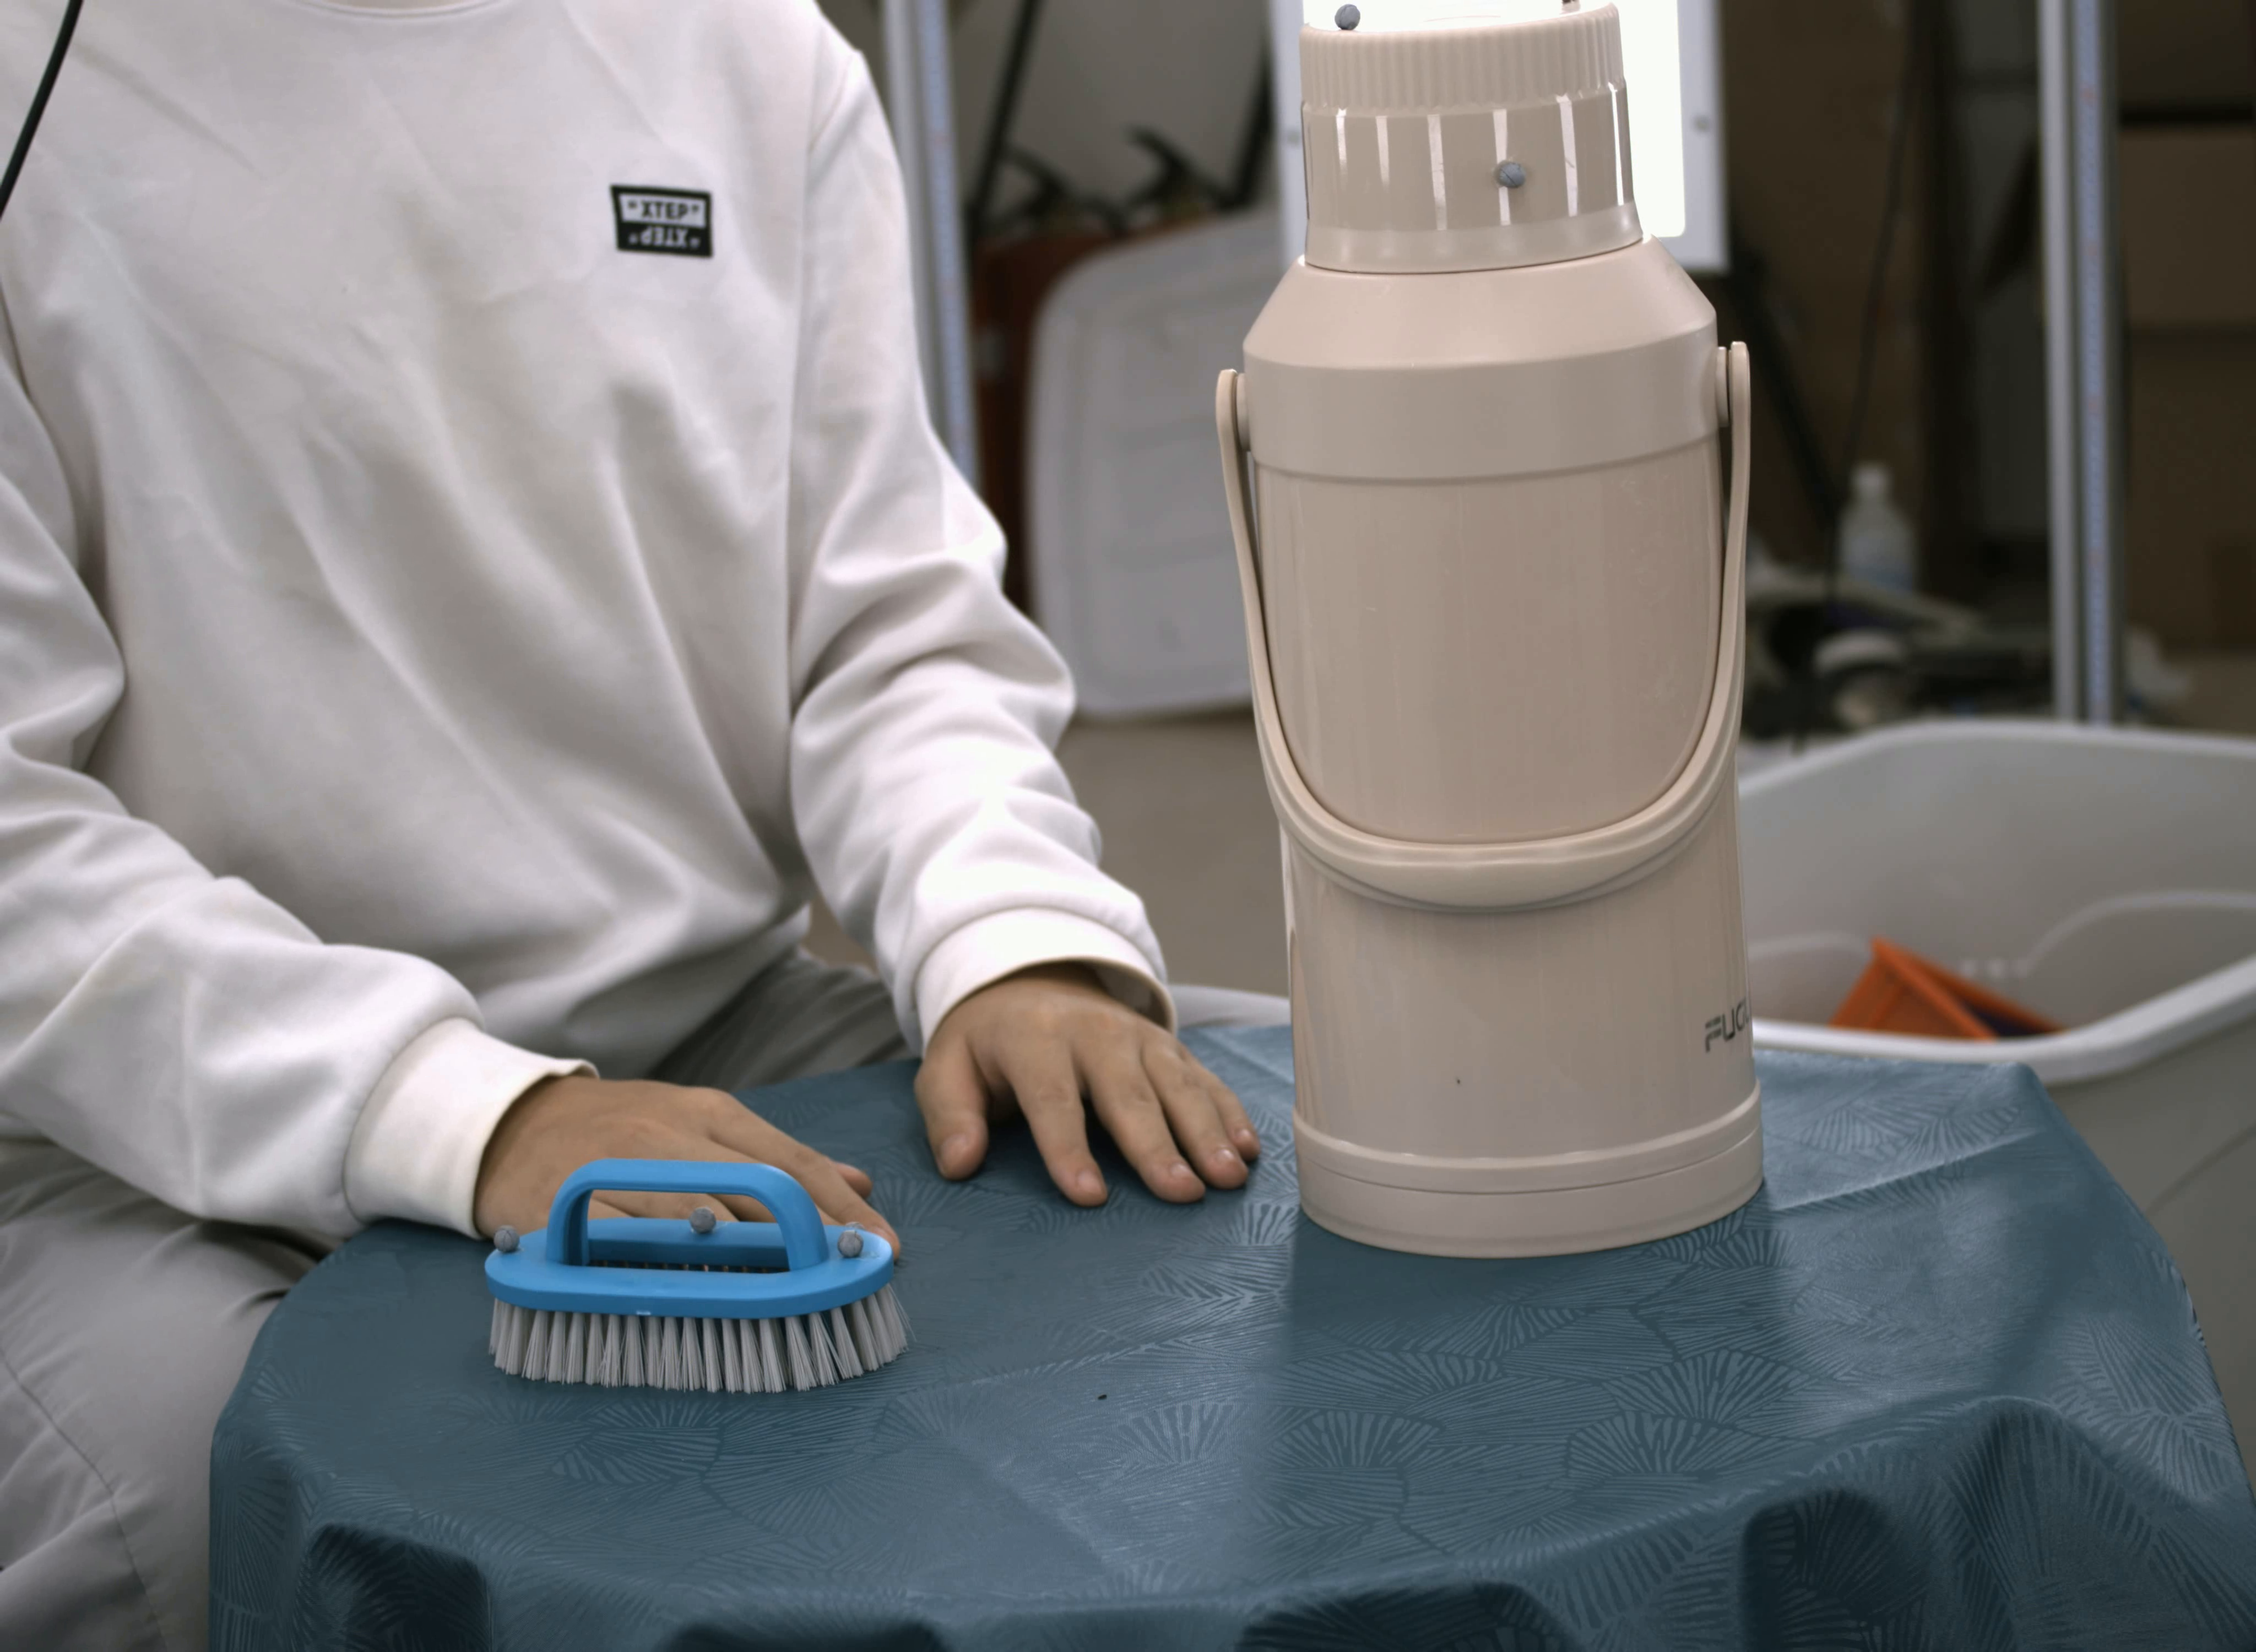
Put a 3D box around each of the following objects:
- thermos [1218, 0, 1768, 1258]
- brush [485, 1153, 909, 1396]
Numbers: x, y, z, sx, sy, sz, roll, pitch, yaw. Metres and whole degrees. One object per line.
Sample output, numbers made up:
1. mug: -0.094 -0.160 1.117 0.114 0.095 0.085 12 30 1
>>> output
1. thermos: 0.127 -0.074 1.833 0.176 0.408 0.205 -4 13 9
2. brush: -0.142 0.137 1.769 0.144 0.064 0.083 0 19 24
